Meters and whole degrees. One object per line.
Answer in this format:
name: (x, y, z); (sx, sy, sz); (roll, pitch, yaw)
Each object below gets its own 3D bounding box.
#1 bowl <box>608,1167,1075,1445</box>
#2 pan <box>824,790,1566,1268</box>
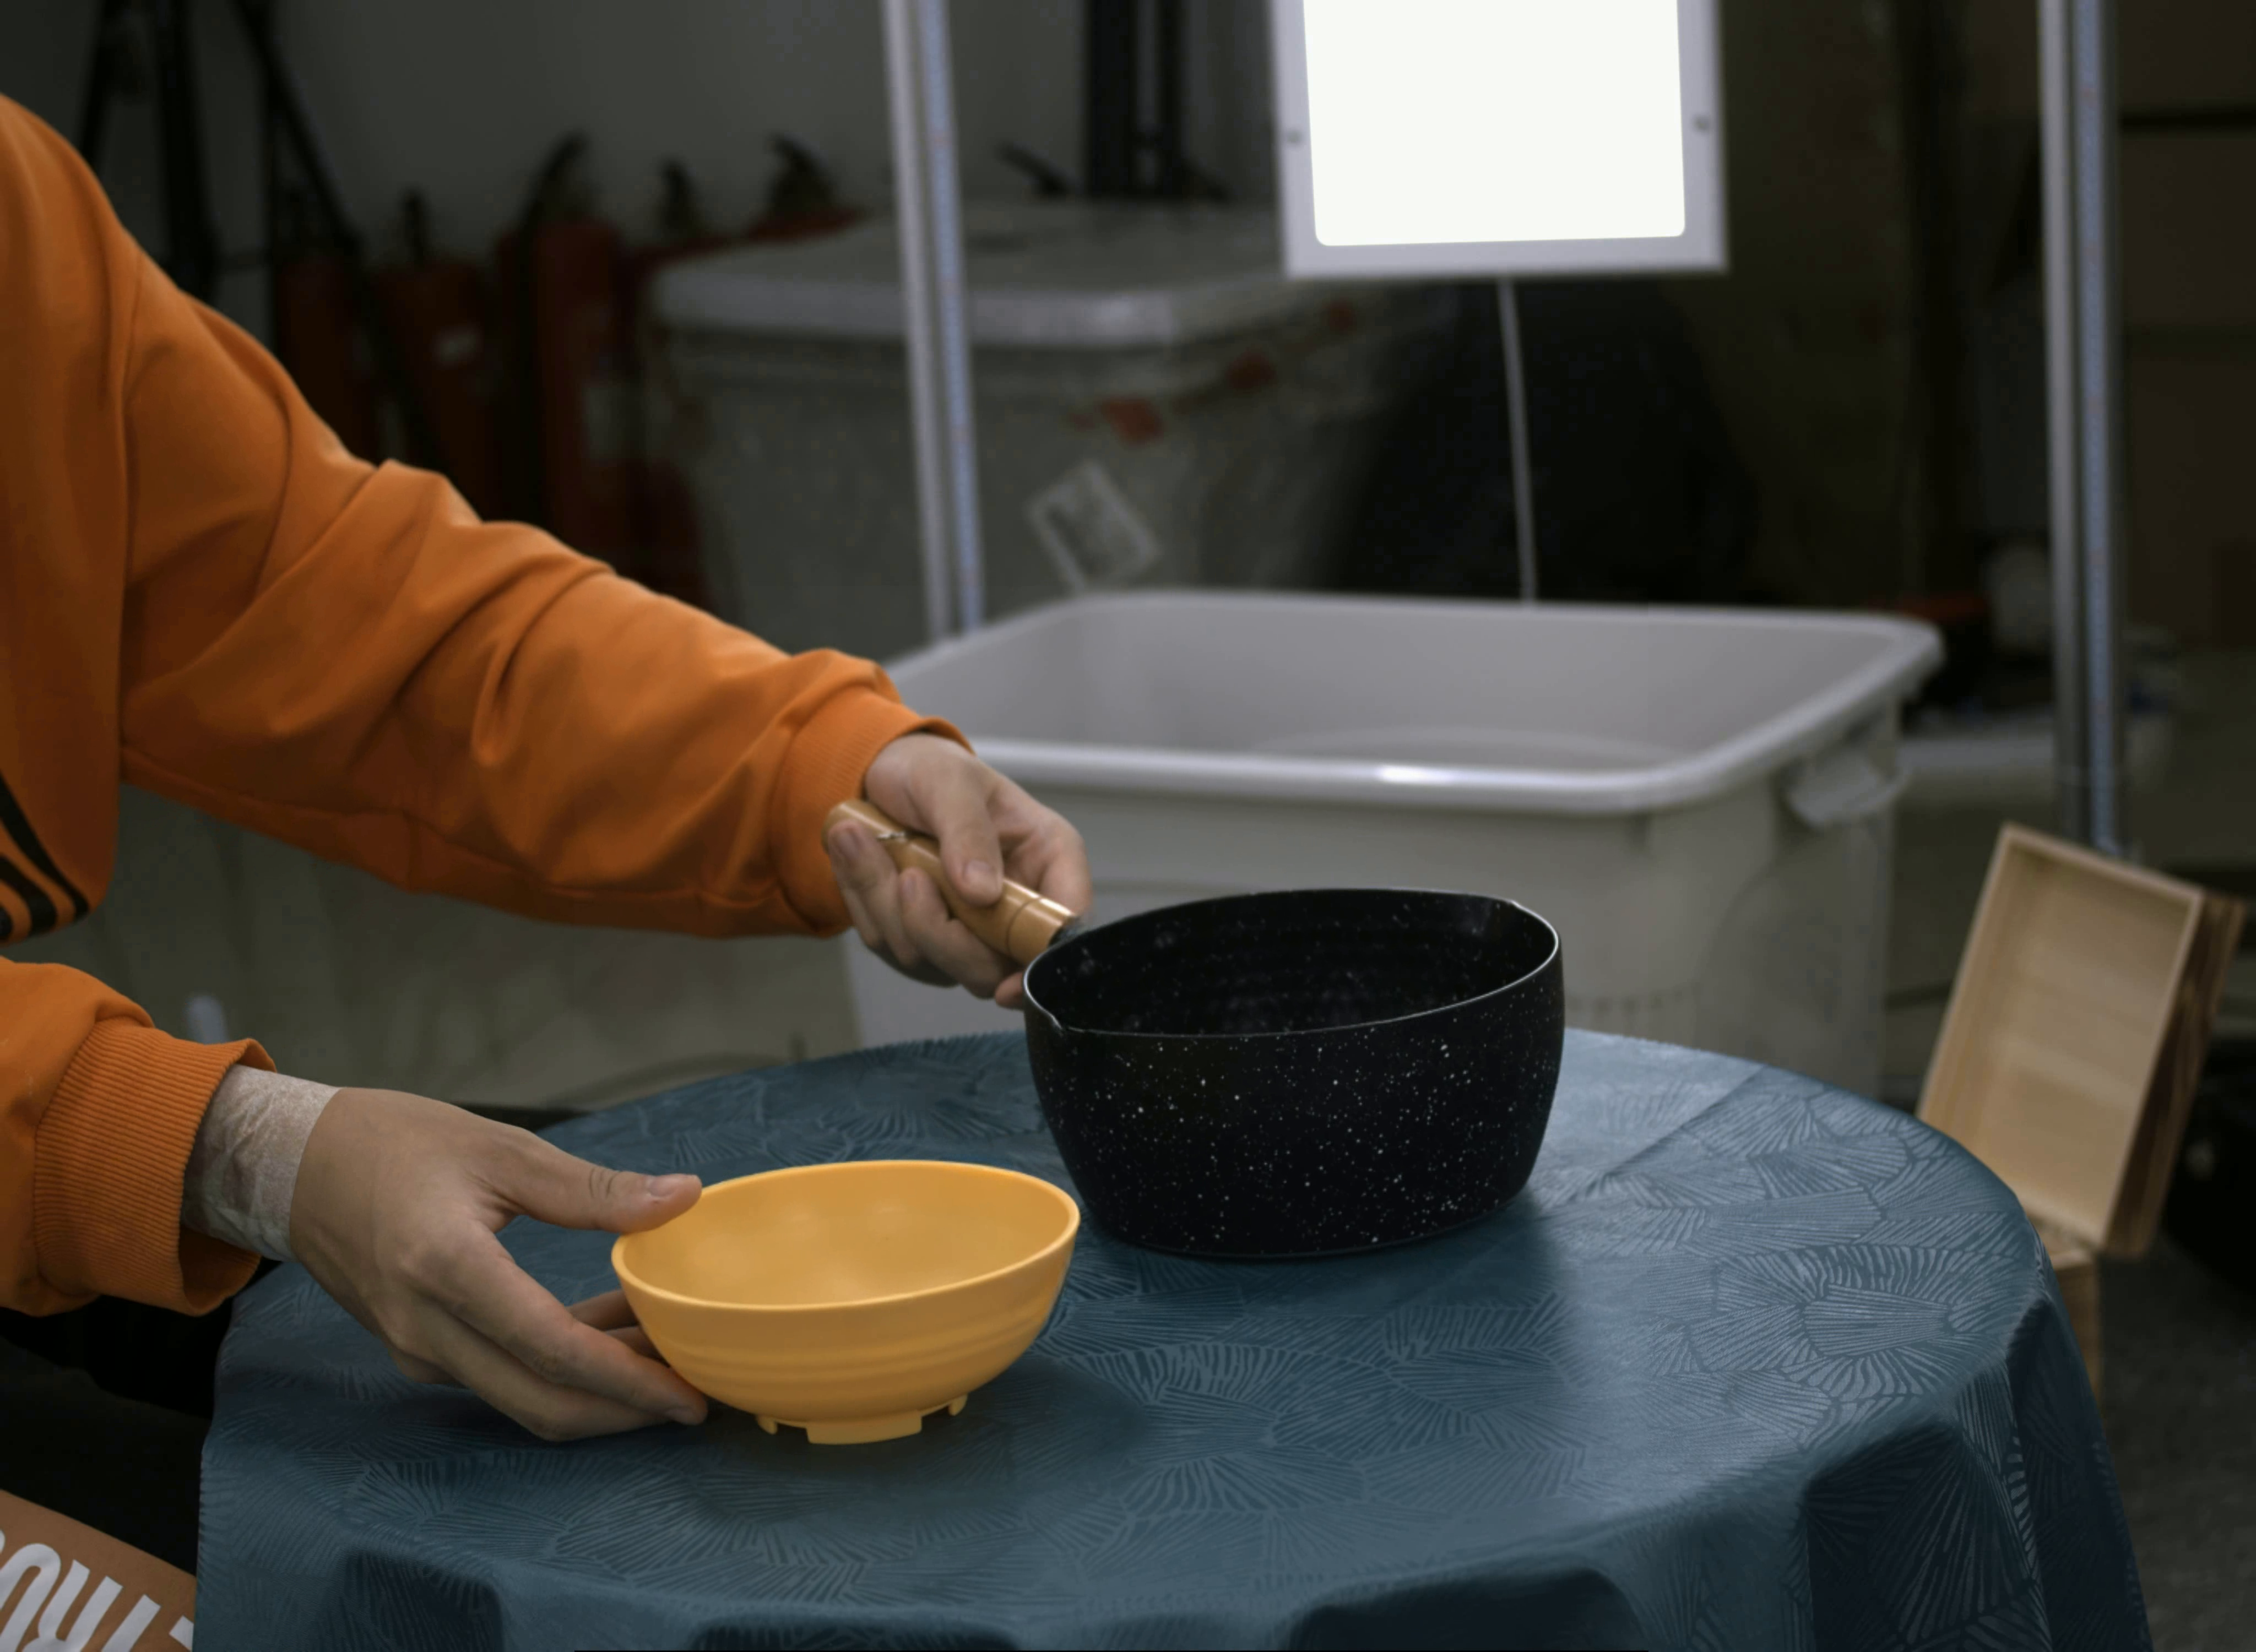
bowl: (-0.086, 0.152, 1.700); (0.145, 0.060, 0.145); (-5, 13, 0)
pan: (0.005, 0.064, 1.925); (0.202, 0.108, 0.350); (-18, 19, -37)
